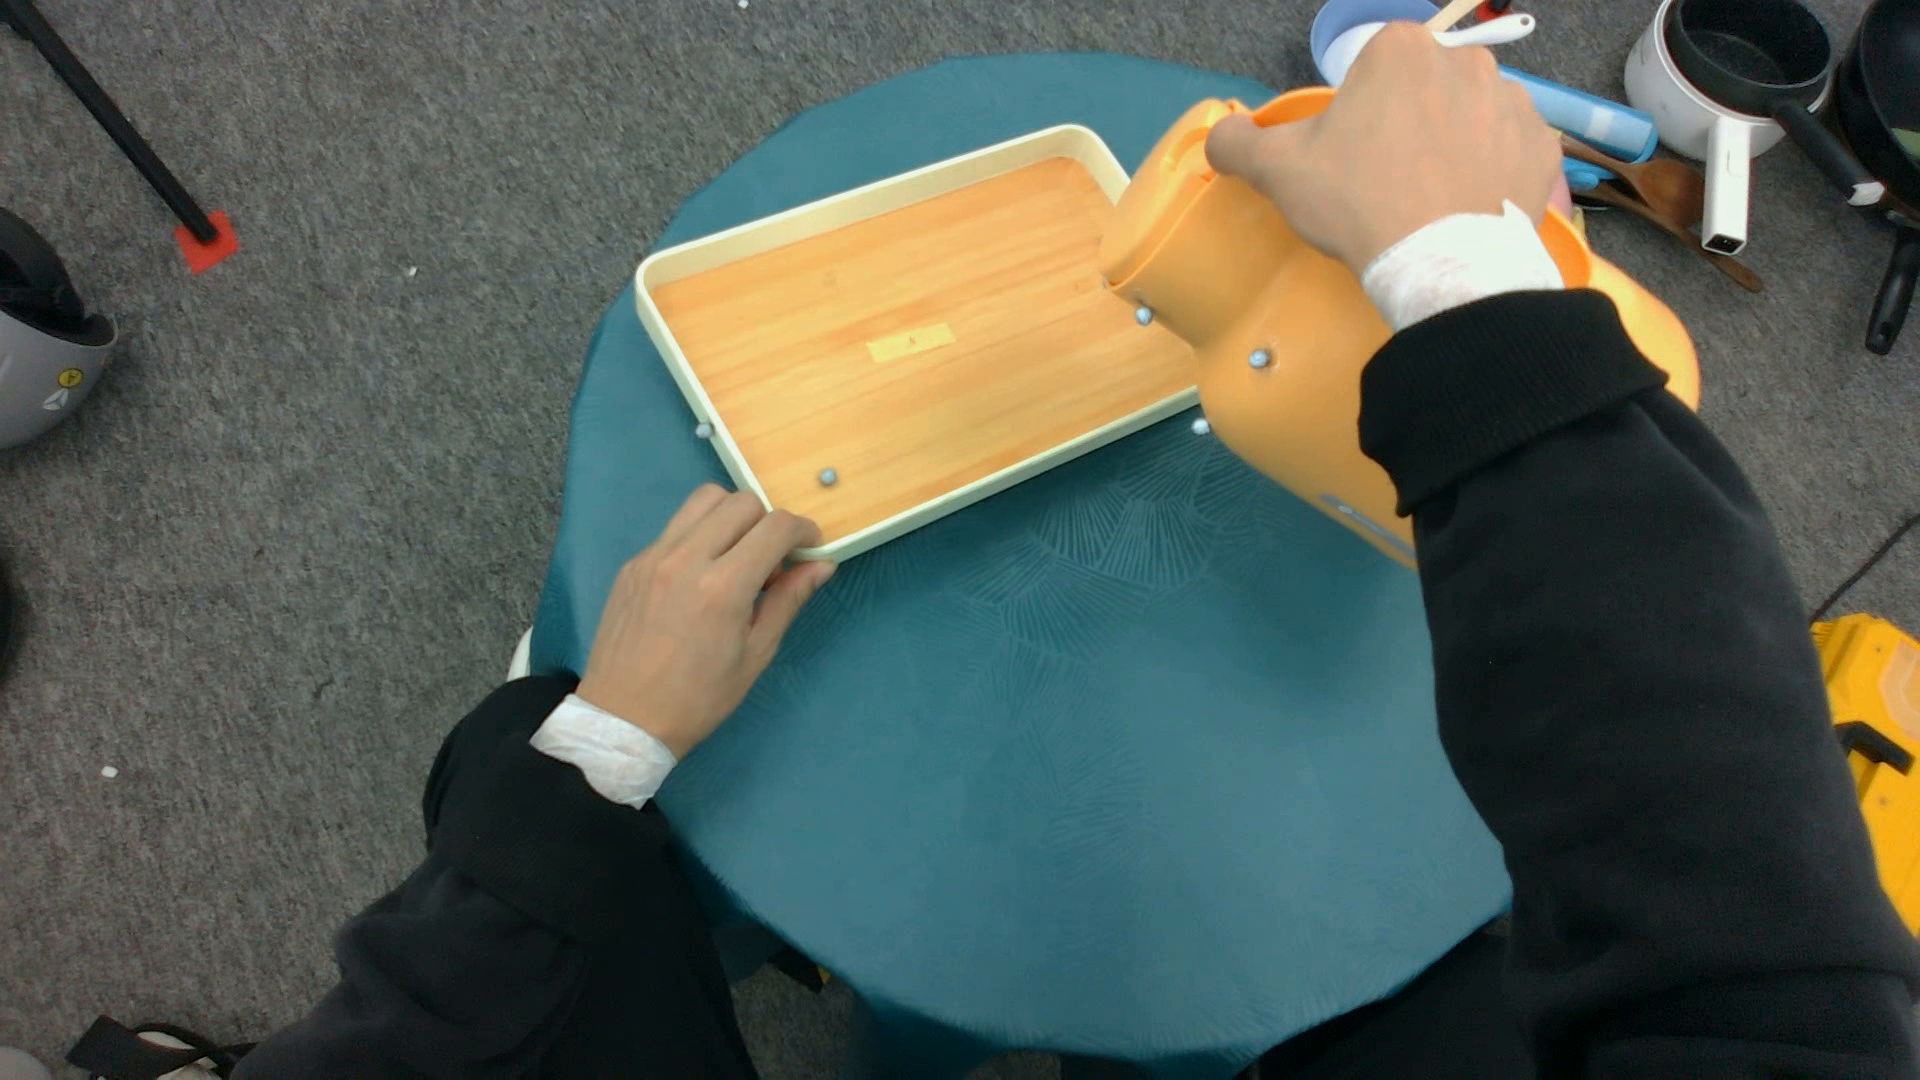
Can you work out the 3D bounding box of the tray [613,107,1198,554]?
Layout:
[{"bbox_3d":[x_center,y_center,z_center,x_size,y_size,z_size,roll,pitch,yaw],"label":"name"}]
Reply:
[{"bbox_3d":[-0.015,-0.125,0.752,0.301,0.027,0.192,-25,73,-25],"label":"tray"}]

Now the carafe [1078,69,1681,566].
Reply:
[{"bbox_3d":[0.186,-0.108,0.613,0.260,0.202,0.164,27,78,-11],"label":"carafe"}]
